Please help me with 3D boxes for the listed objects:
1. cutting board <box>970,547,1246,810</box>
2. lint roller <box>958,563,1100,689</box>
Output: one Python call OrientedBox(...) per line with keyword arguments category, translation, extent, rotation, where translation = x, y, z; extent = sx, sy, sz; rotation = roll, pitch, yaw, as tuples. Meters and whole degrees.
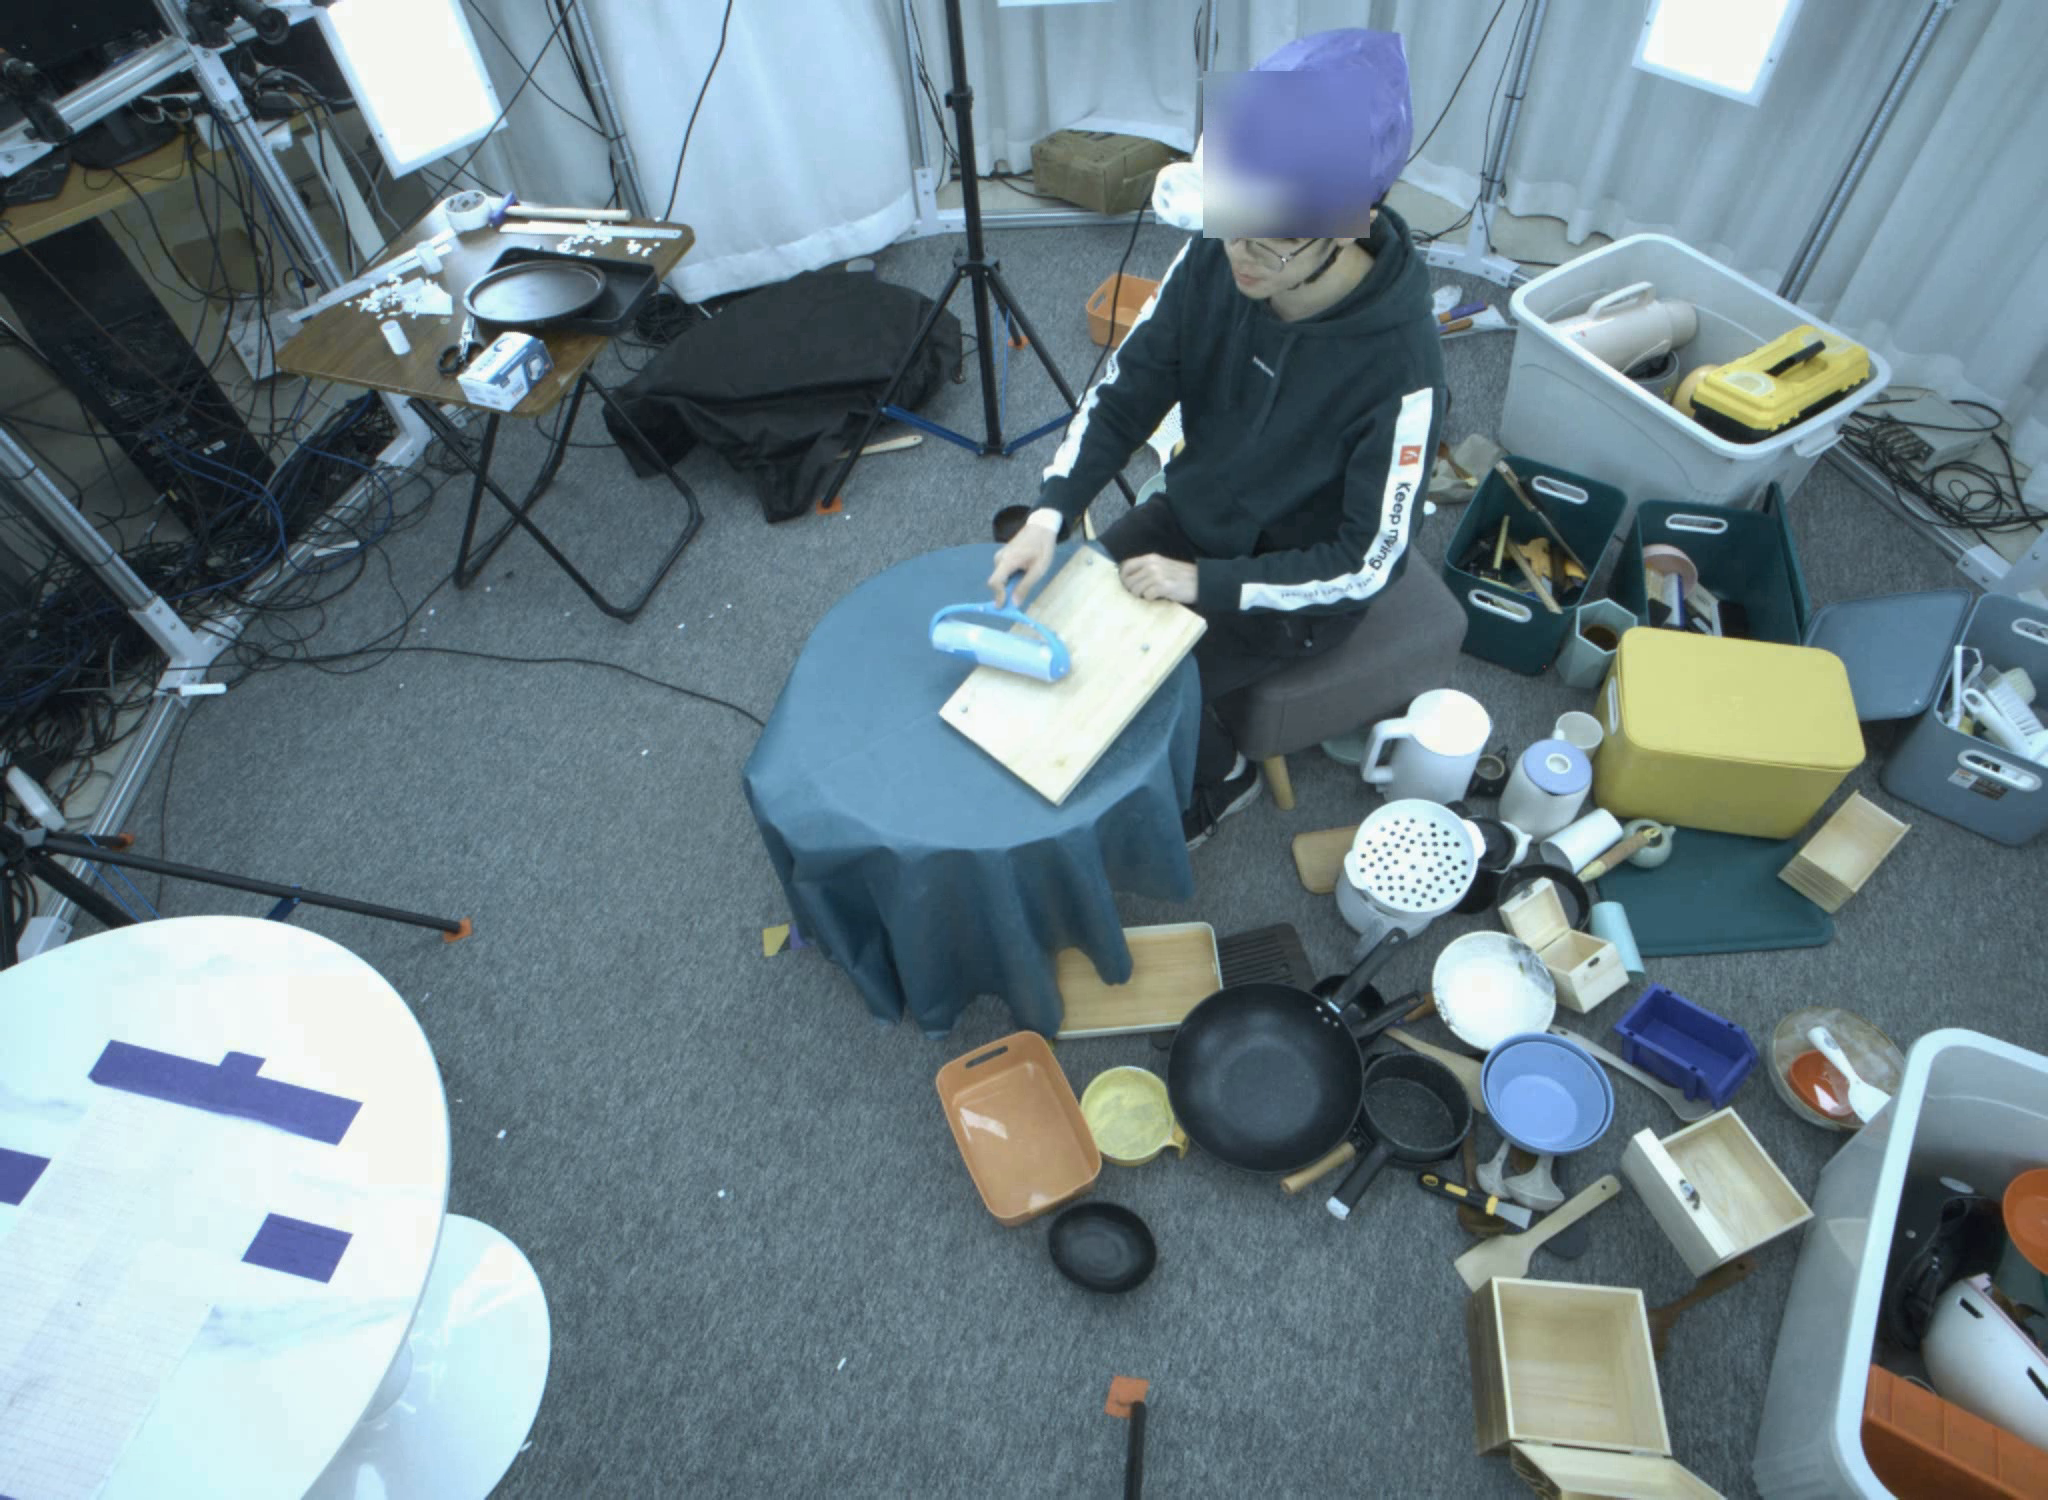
OrientedBox(category="cutting board", translation=(0.116, -0.111, 1.781), extent=(0.246, 0.024, 0.349), rotation=(38, 83, 25))
OrientedBox(category="lint roller", translation=(0.022, -0.196, 1.785), extent=(0.225, 0.069, 0.180), rotation=(15, 86, 23))
